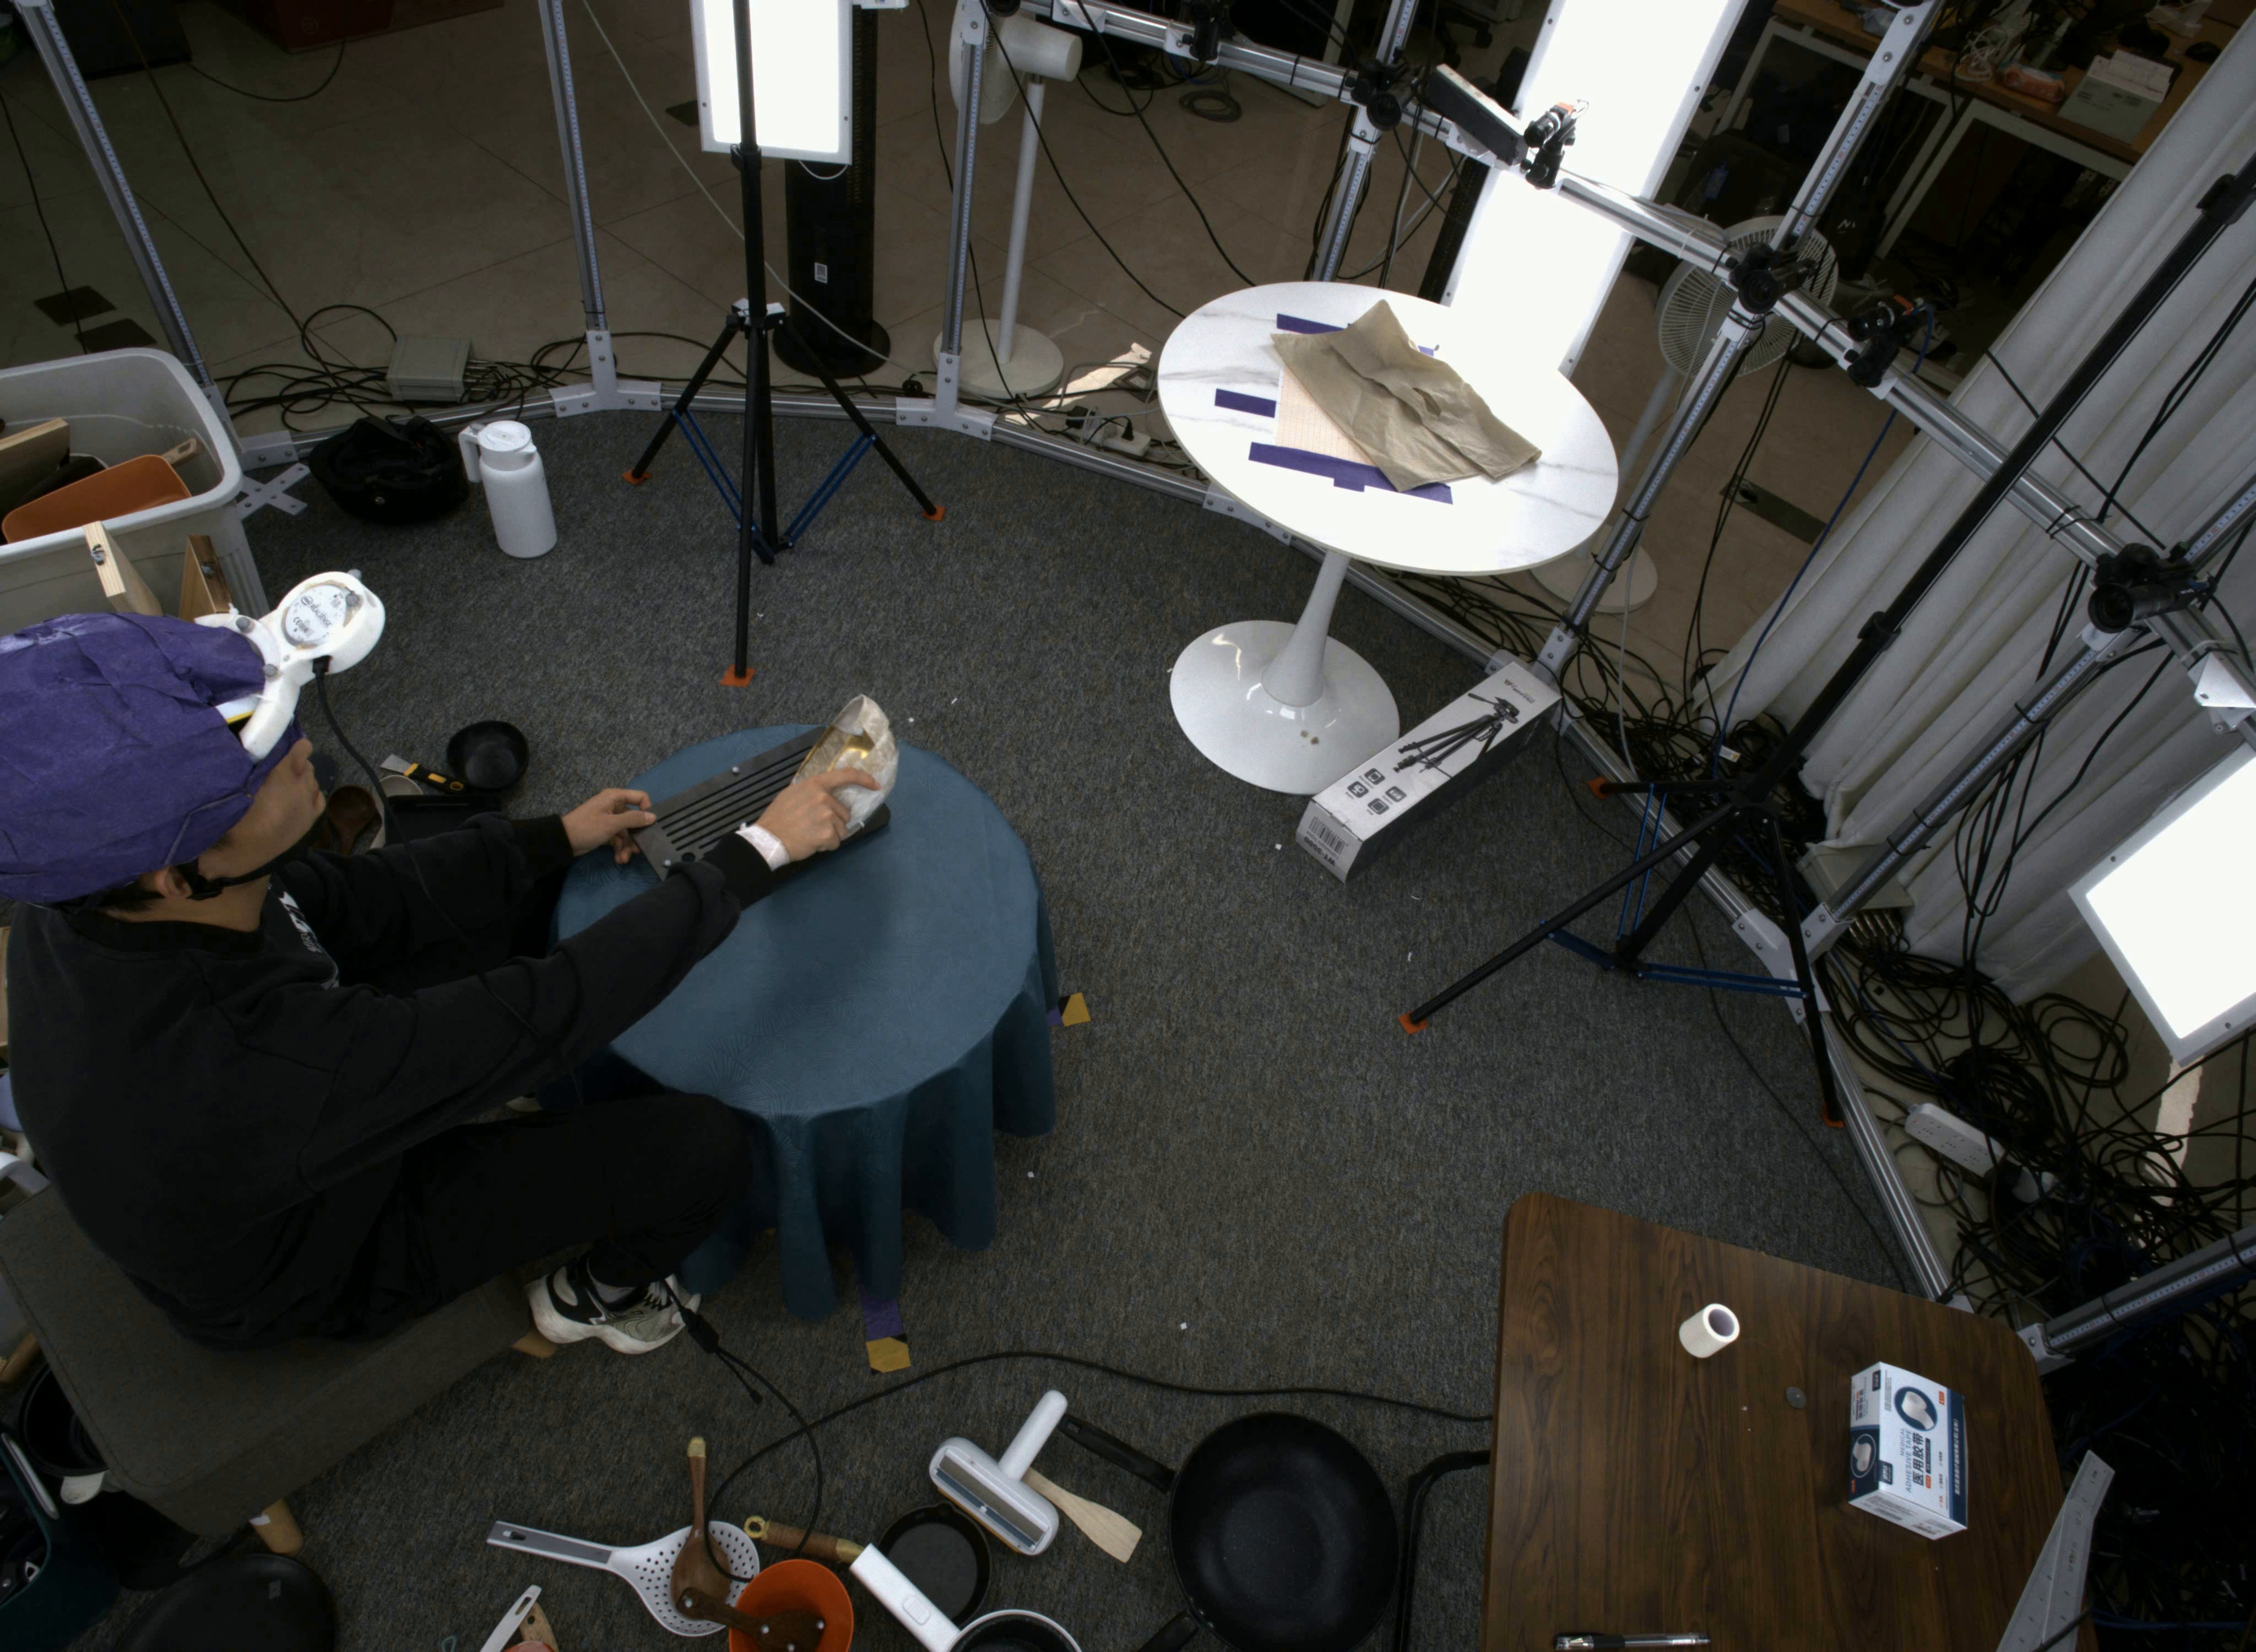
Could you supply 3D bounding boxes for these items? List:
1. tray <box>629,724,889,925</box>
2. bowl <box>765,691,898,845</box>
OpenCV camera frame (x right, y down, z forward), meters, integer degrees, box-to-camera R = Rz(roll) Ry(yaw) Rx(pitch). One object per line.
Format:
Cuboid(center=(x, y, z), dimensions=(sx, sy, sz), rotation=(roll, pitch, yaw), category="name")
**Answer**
Cuboid(center=(-0.478, -0.008, 1.688), dimensions=(0.307, 0.019, 0.169), rotation=(-32, 80, -31), category="tray")
Cuboid(center=(-0.349, -0.053, 1.594), dimensions=(0.097, 0.212, 0.212), rotation=(35, 46, -23), category="bowl")
